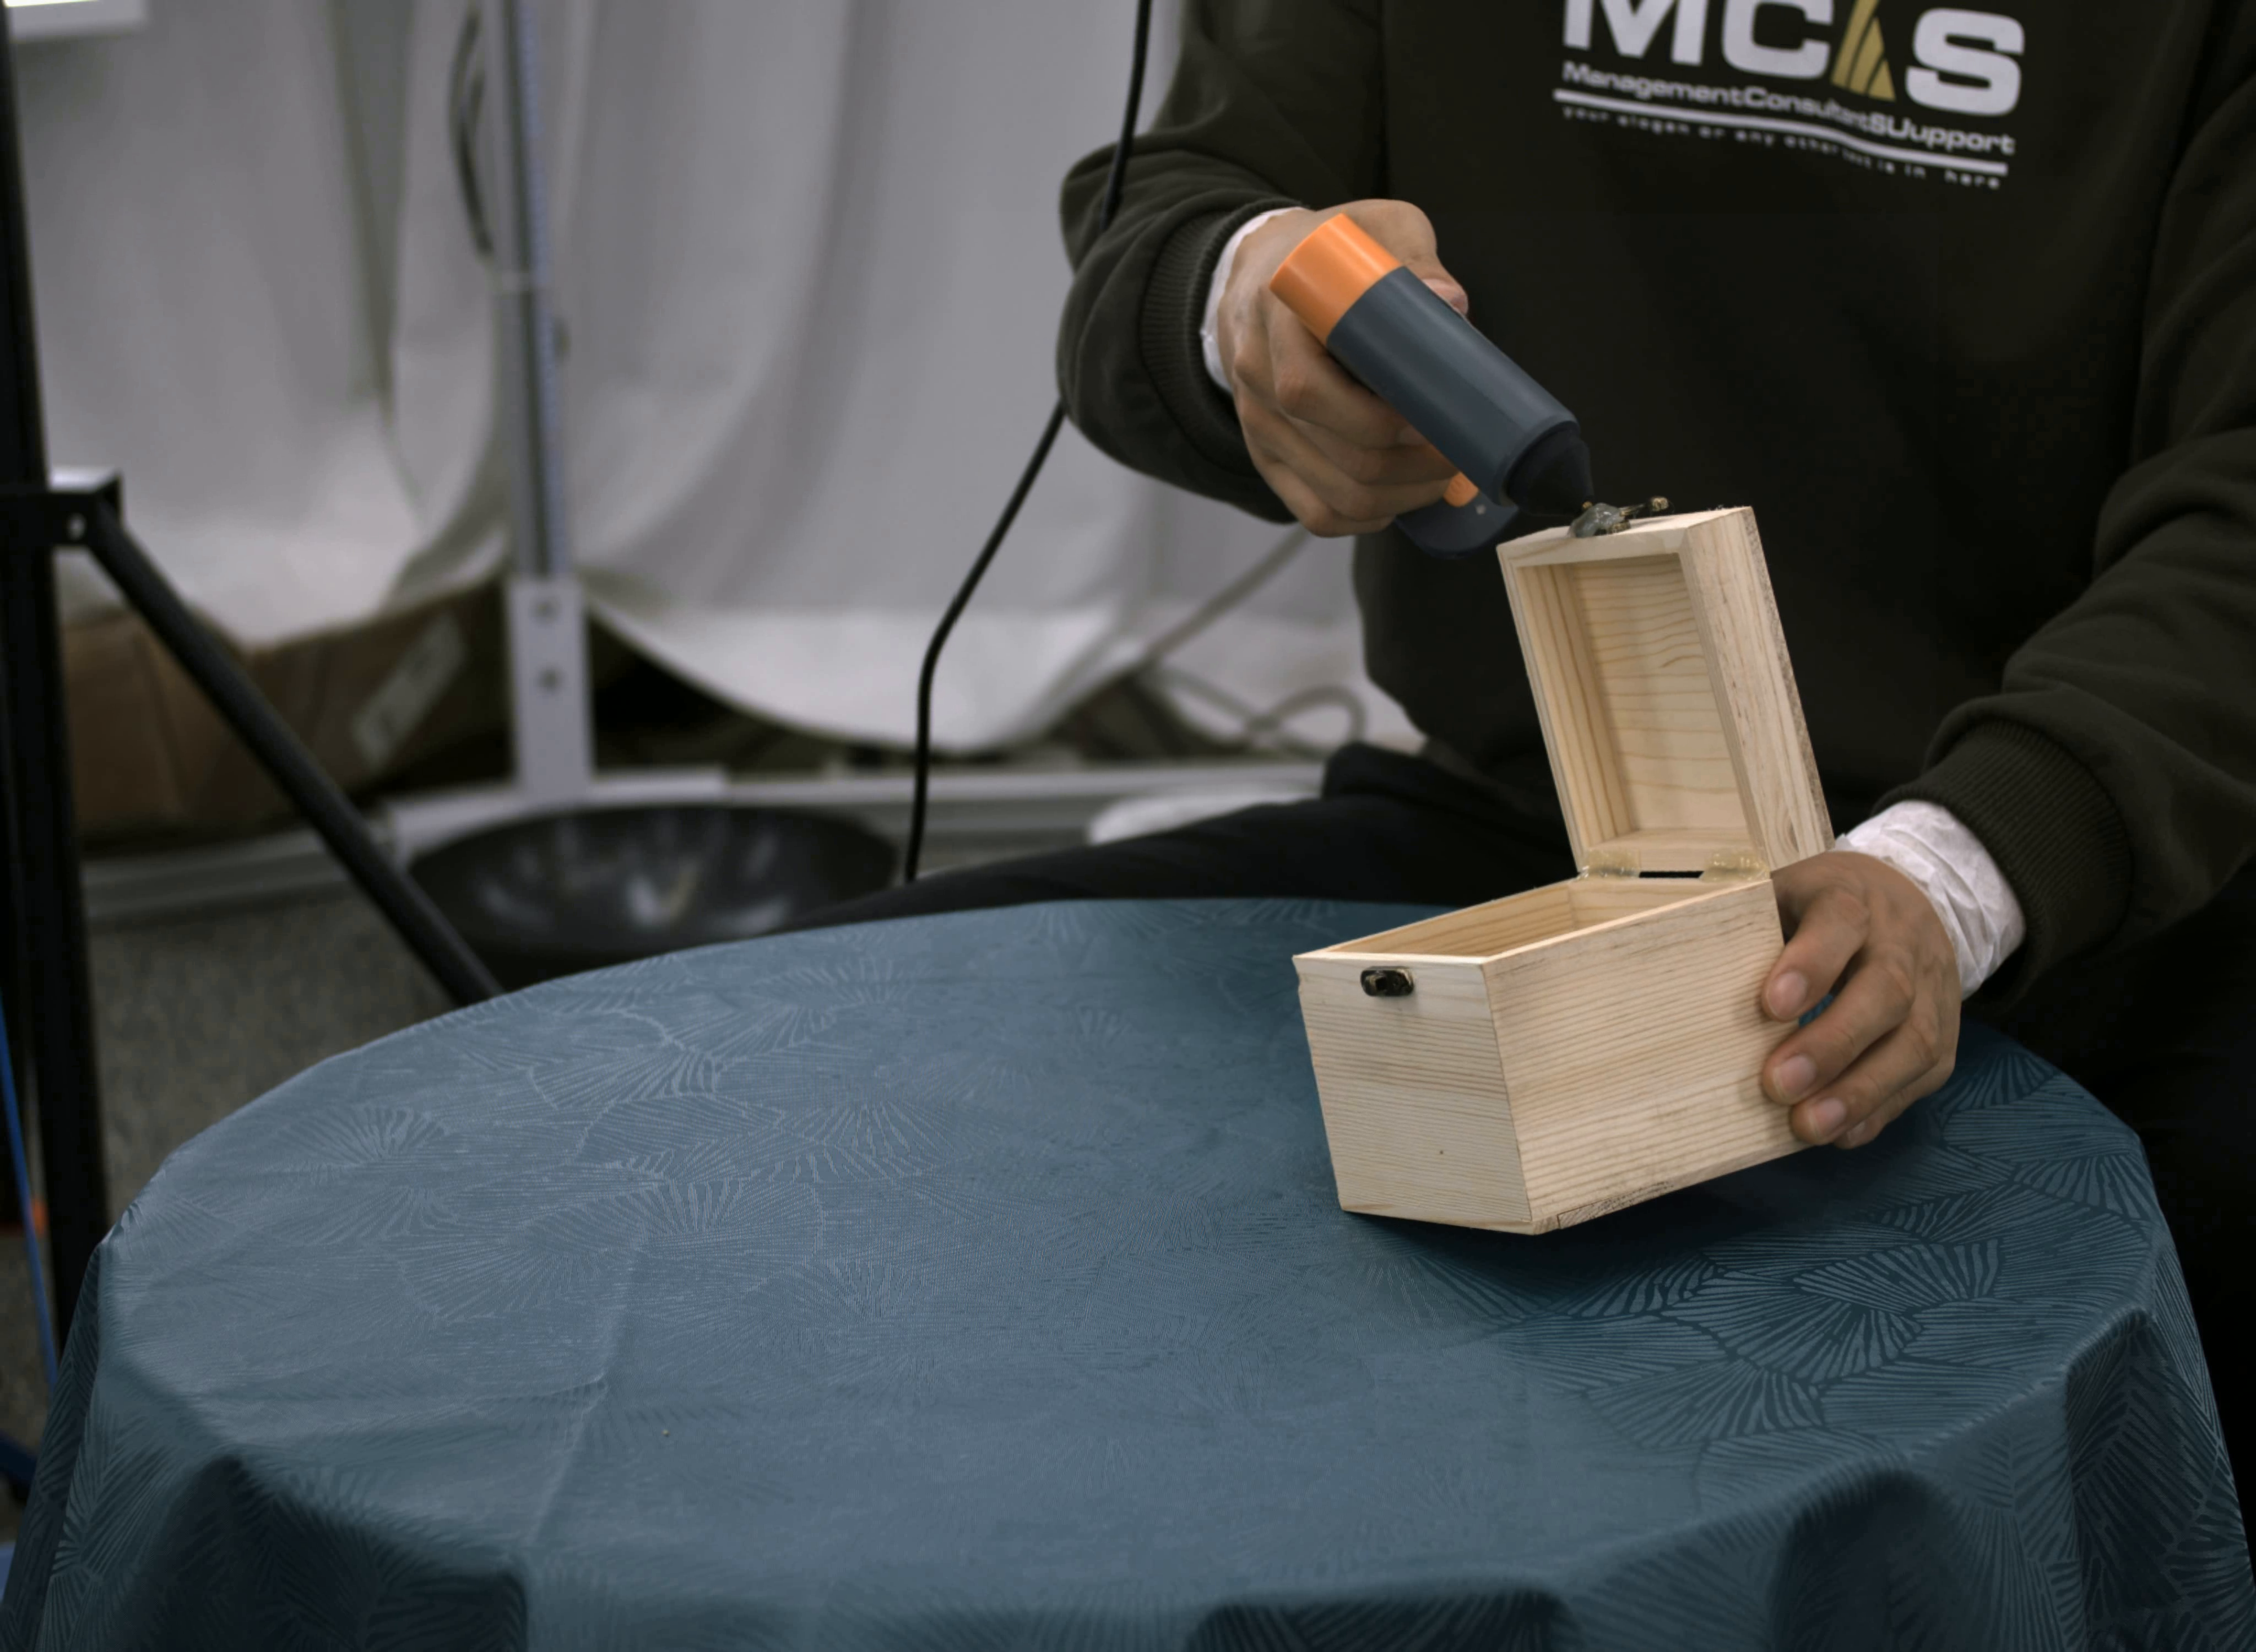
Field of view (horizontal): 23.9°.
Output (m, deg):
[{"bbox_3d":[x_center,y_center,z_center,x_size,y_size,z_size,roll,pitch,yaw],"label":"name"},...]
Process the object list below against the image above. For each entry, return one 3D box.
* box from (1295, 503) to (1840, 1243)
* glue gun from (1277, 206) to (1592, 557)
[{"bbox_3d":[0.120,0.011,1.506,0.131,0.185,0.104,-14,6,-29],"label":"box"},{"bbox_3d":[0.093,-0.123,1.591,0.041,0.119,0.139,-40,-8,-6],"label":"glue gun"}]
